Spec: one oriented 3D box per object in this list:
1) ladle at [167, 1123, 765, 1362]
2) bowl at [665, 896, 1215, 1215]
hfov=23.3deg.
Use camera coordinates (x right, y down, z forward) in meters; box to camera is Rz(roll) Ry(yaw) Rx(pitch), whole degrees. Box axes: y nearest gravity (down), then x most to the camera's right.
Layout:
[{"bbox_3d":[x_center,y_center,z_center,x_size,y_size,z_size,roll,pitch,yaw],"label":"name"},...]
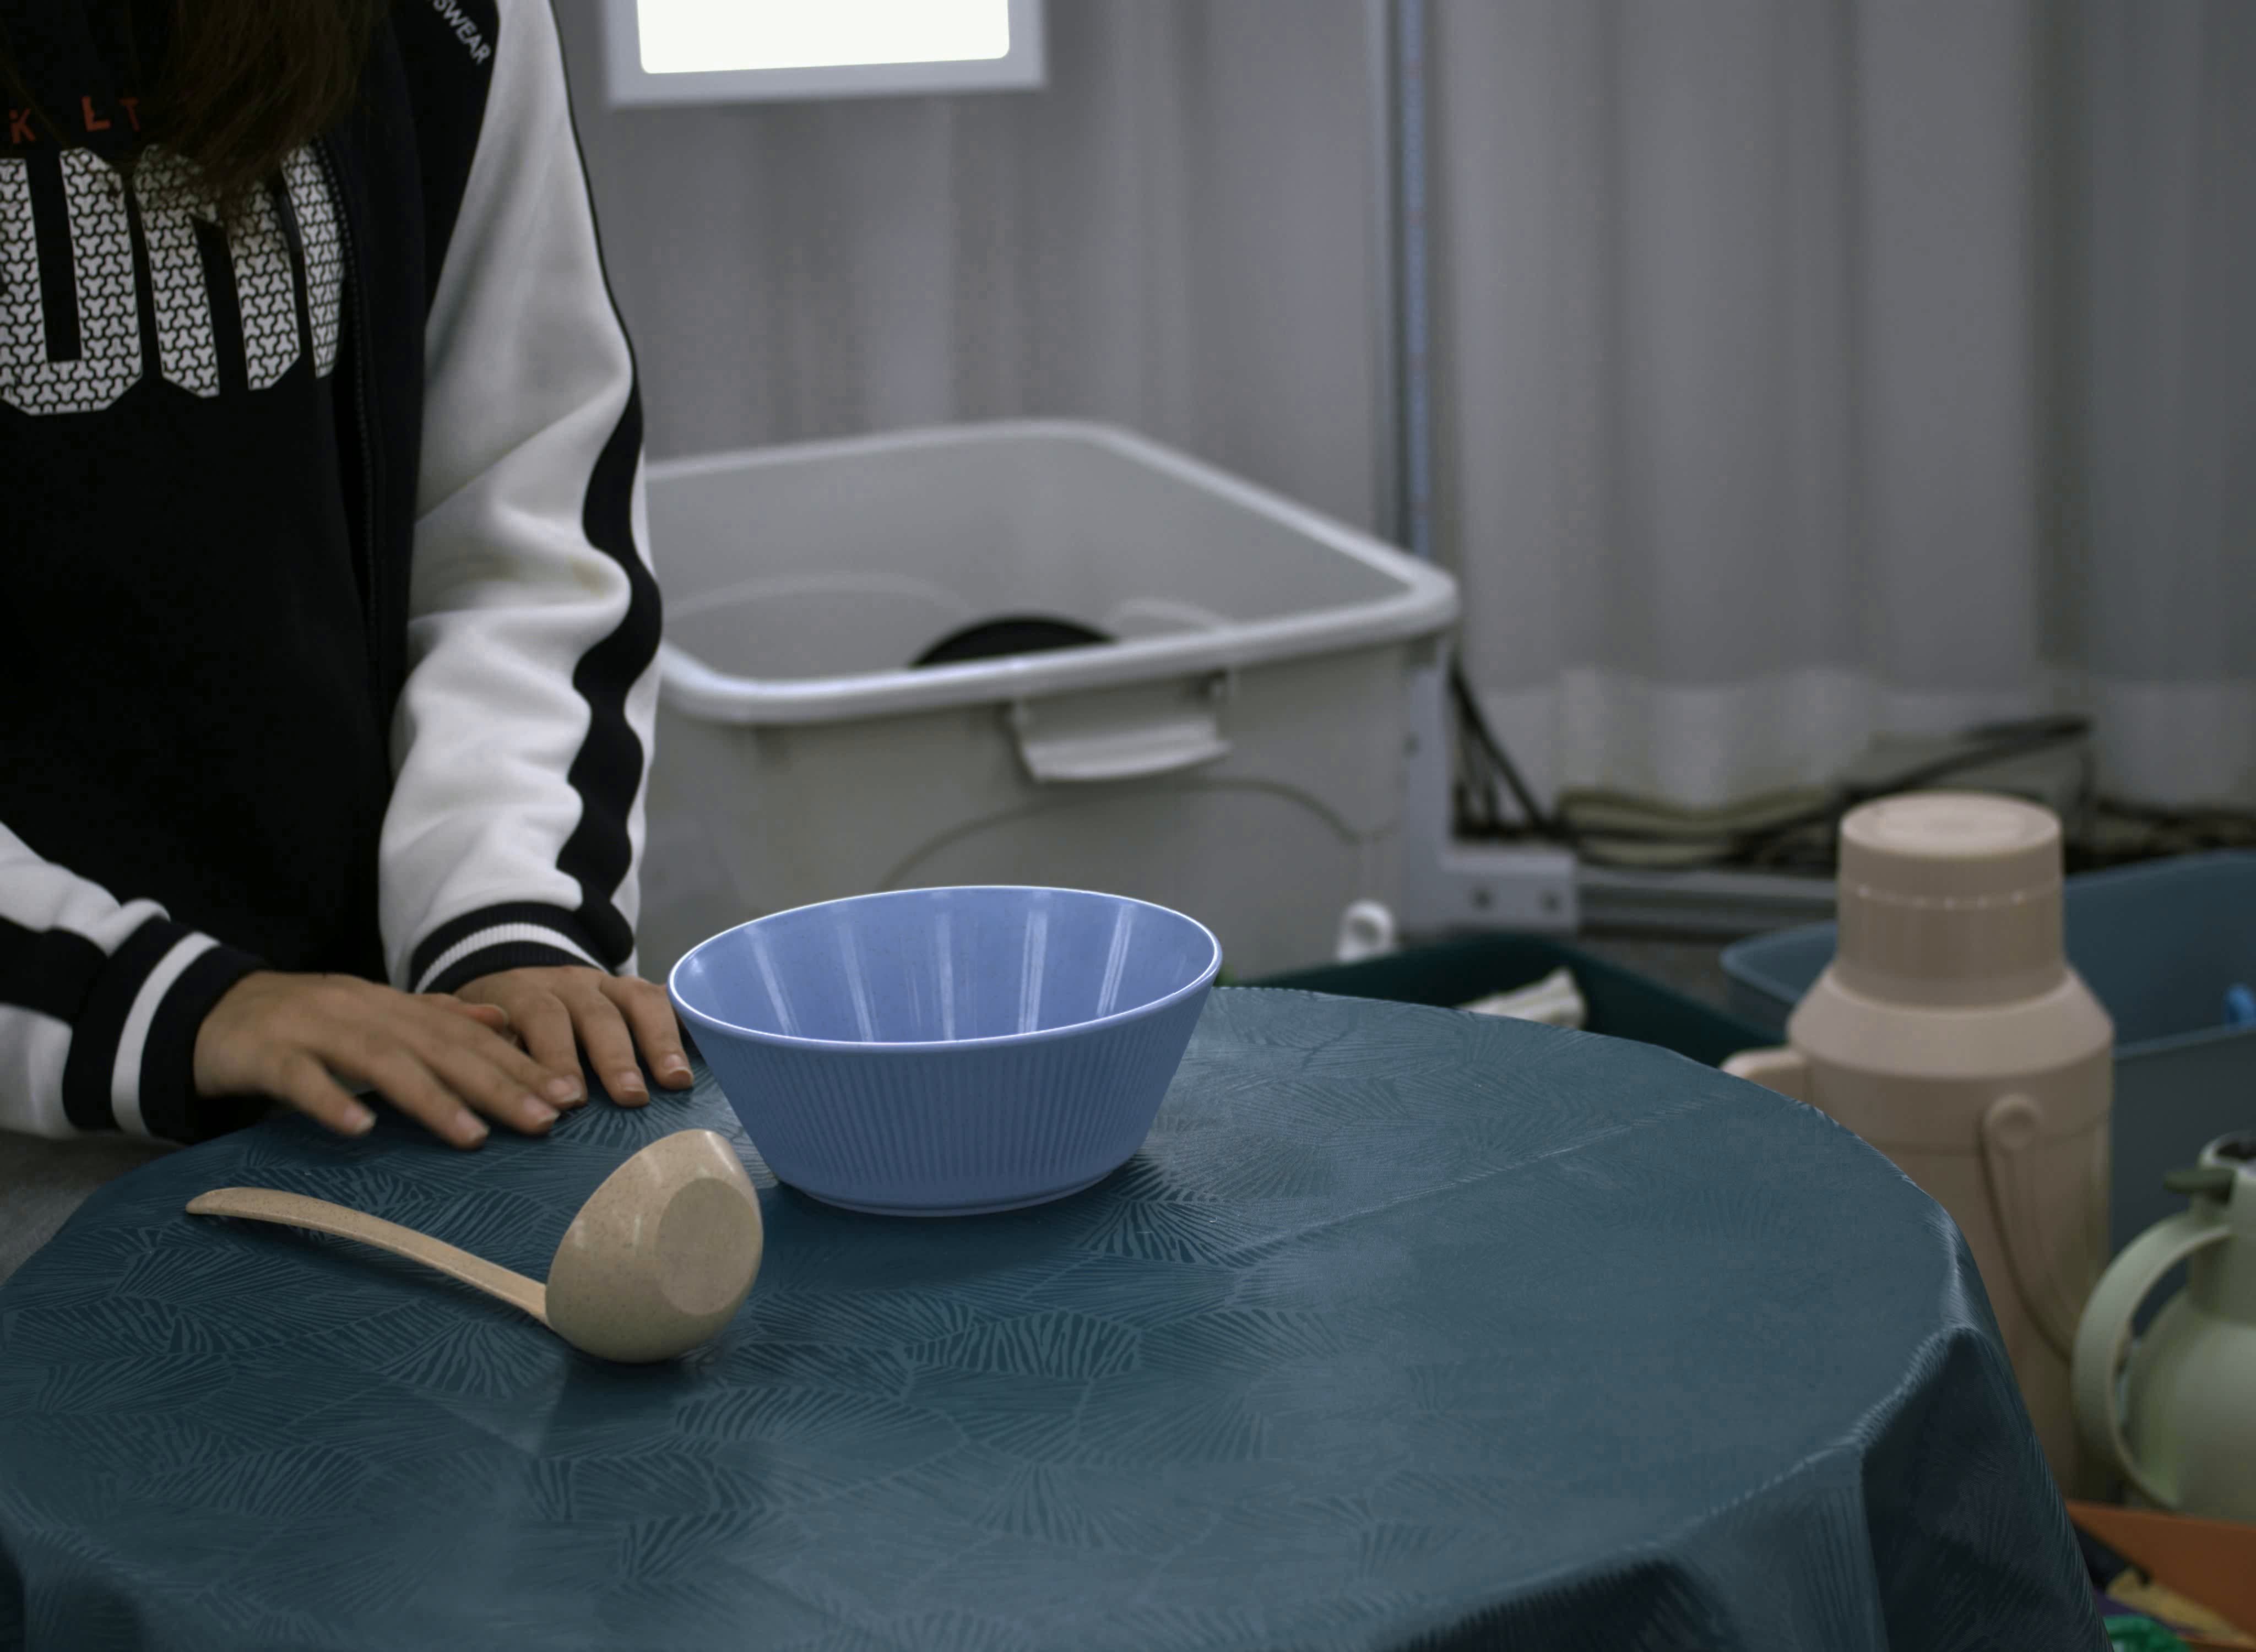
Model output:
[{"bbox_3d":[-0.211,0.106,1.646,0.256,0.072,0.072,10,22,42],"label":"ladle"},{"bbox_3d":[-0.058,0.075,1.740,0.175,0.070,0.177,-2,14,0],"label":"bowl"}]
